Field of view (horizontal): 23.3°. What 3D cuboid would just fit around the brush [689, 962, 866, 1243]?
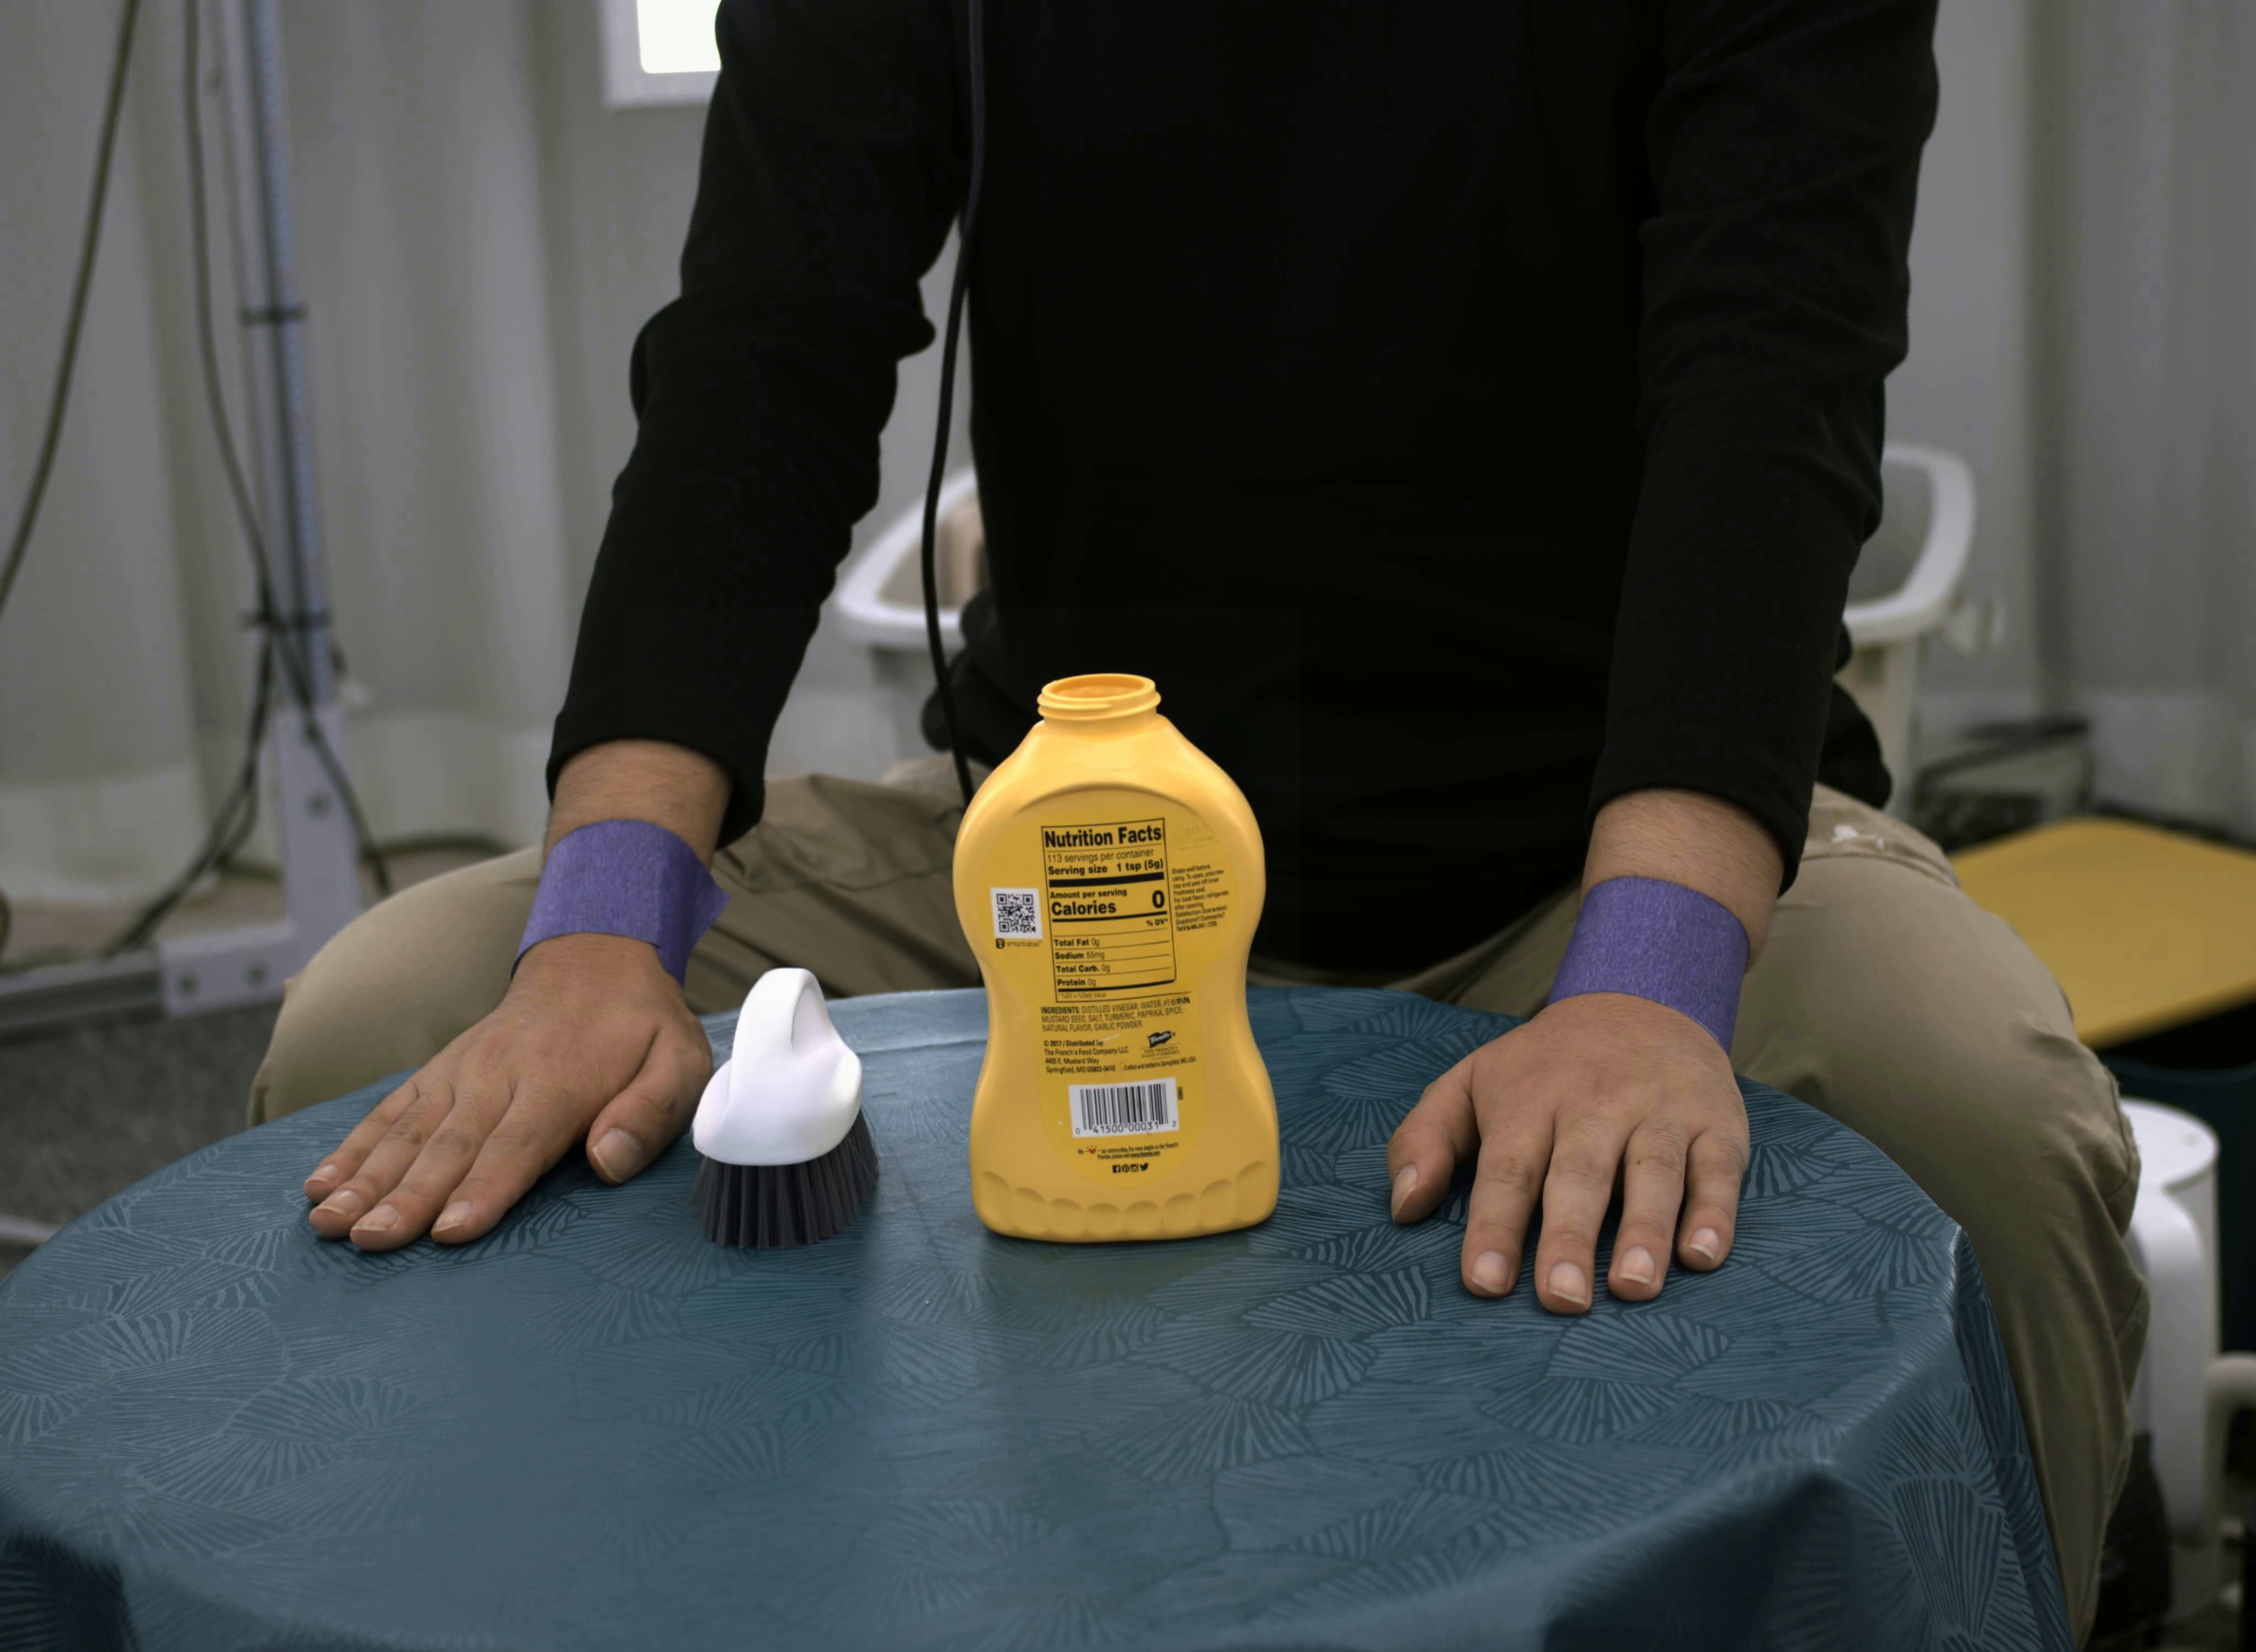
[{"bbox_3d":[-0.111,0.082,1.717,0.050,0.072,0.100,0,16,6],"label":"brush"}]

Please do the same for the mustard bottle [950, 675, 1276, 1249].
[{"bbox_3d":[-0.006,0.041,1.670,0.098,0.171,0.059,-4,10,1],"label":"mustard bottle"}]
